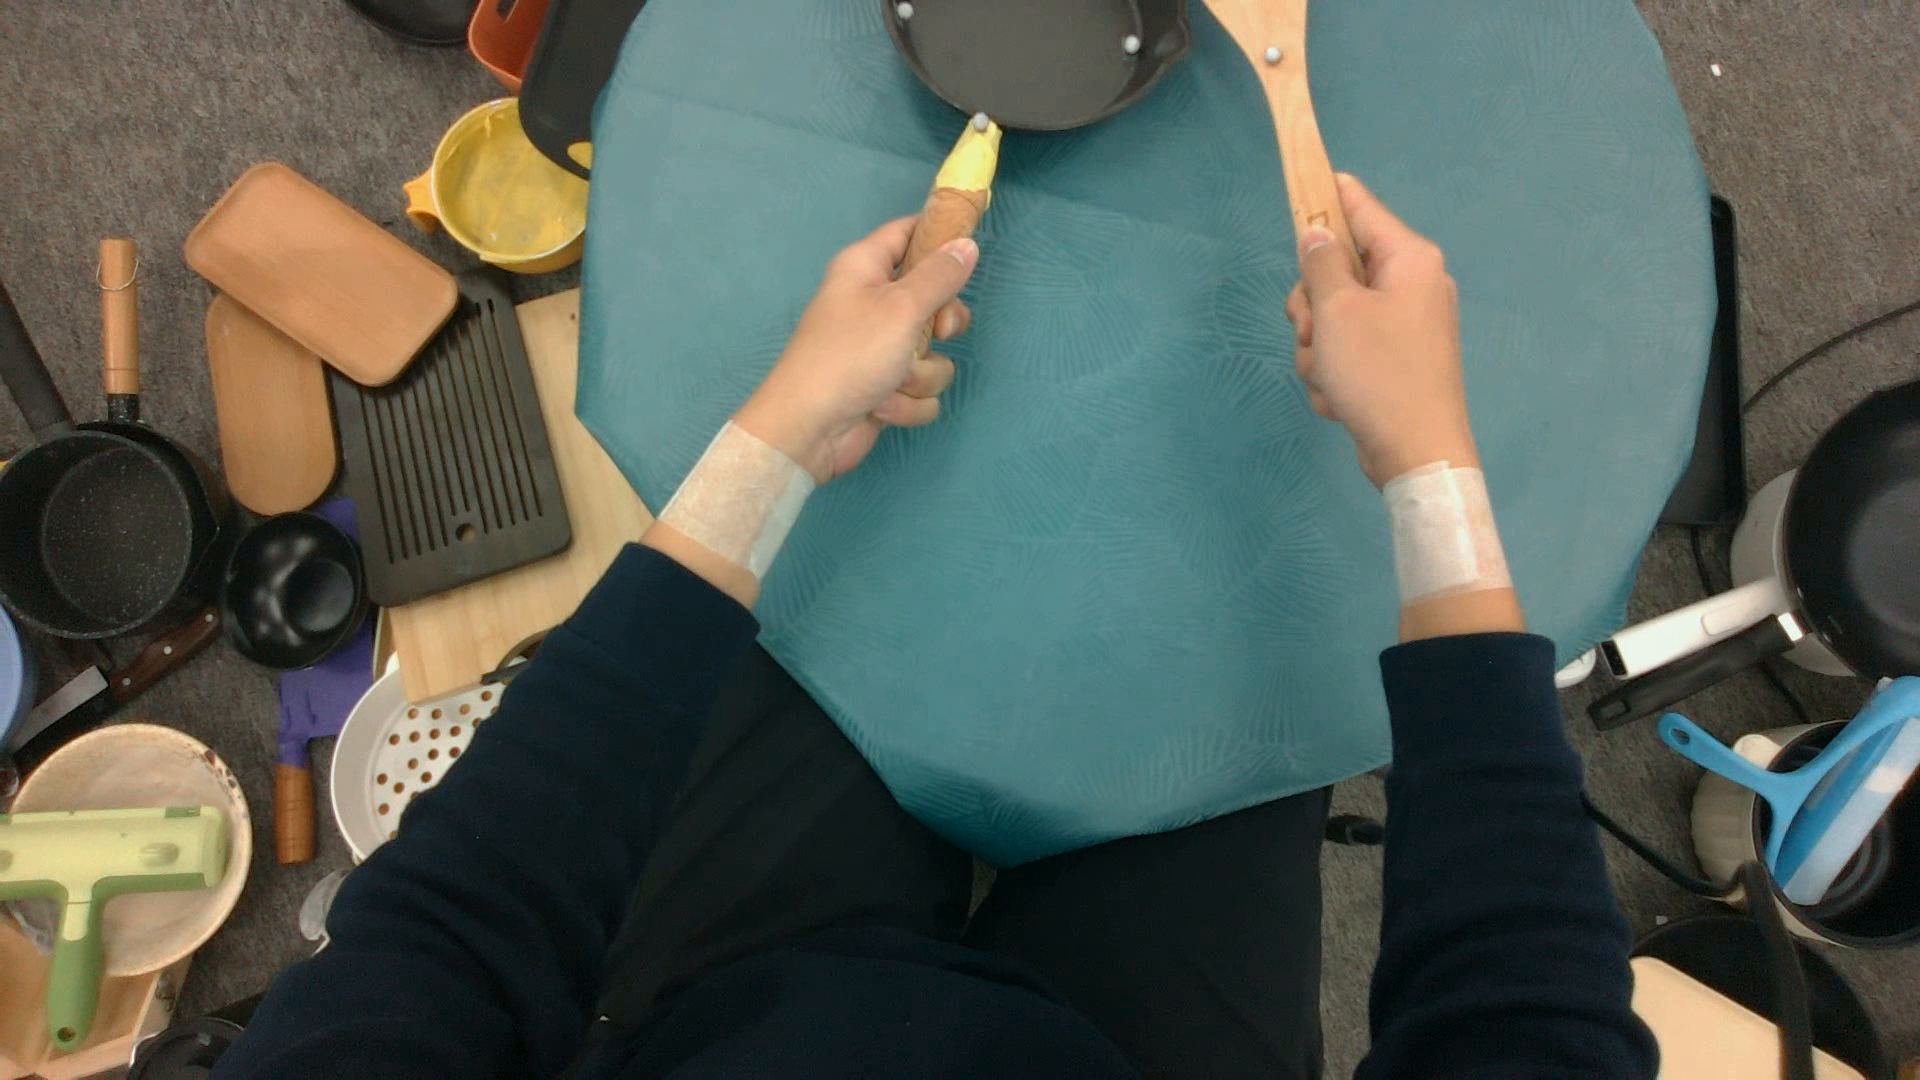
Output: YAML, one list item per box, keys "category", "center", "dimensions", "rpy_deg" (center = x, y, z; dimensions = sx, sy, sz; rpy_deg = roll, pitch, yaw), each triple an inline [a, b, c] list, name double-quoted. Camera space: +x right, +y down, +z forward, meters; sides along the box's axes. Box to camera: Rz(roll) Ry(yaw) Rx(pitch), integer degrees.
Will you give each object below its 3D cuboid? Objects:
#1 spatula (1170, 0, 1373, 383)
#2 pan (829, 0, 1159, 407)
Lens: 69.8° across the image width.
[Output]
- category: "spatula"
  center: [0.138, -0.224, 0.664]
  dimensions: [0.079, 0.016, 0.328]
  rpy_deg: [-24, 69, 30]
- category: "pan"
  center: [-0.005, -0.206, 0.685]
  dimensions: [0.169, 0.049, 0.325]
  rpy_deg: [20, 71, 0]
